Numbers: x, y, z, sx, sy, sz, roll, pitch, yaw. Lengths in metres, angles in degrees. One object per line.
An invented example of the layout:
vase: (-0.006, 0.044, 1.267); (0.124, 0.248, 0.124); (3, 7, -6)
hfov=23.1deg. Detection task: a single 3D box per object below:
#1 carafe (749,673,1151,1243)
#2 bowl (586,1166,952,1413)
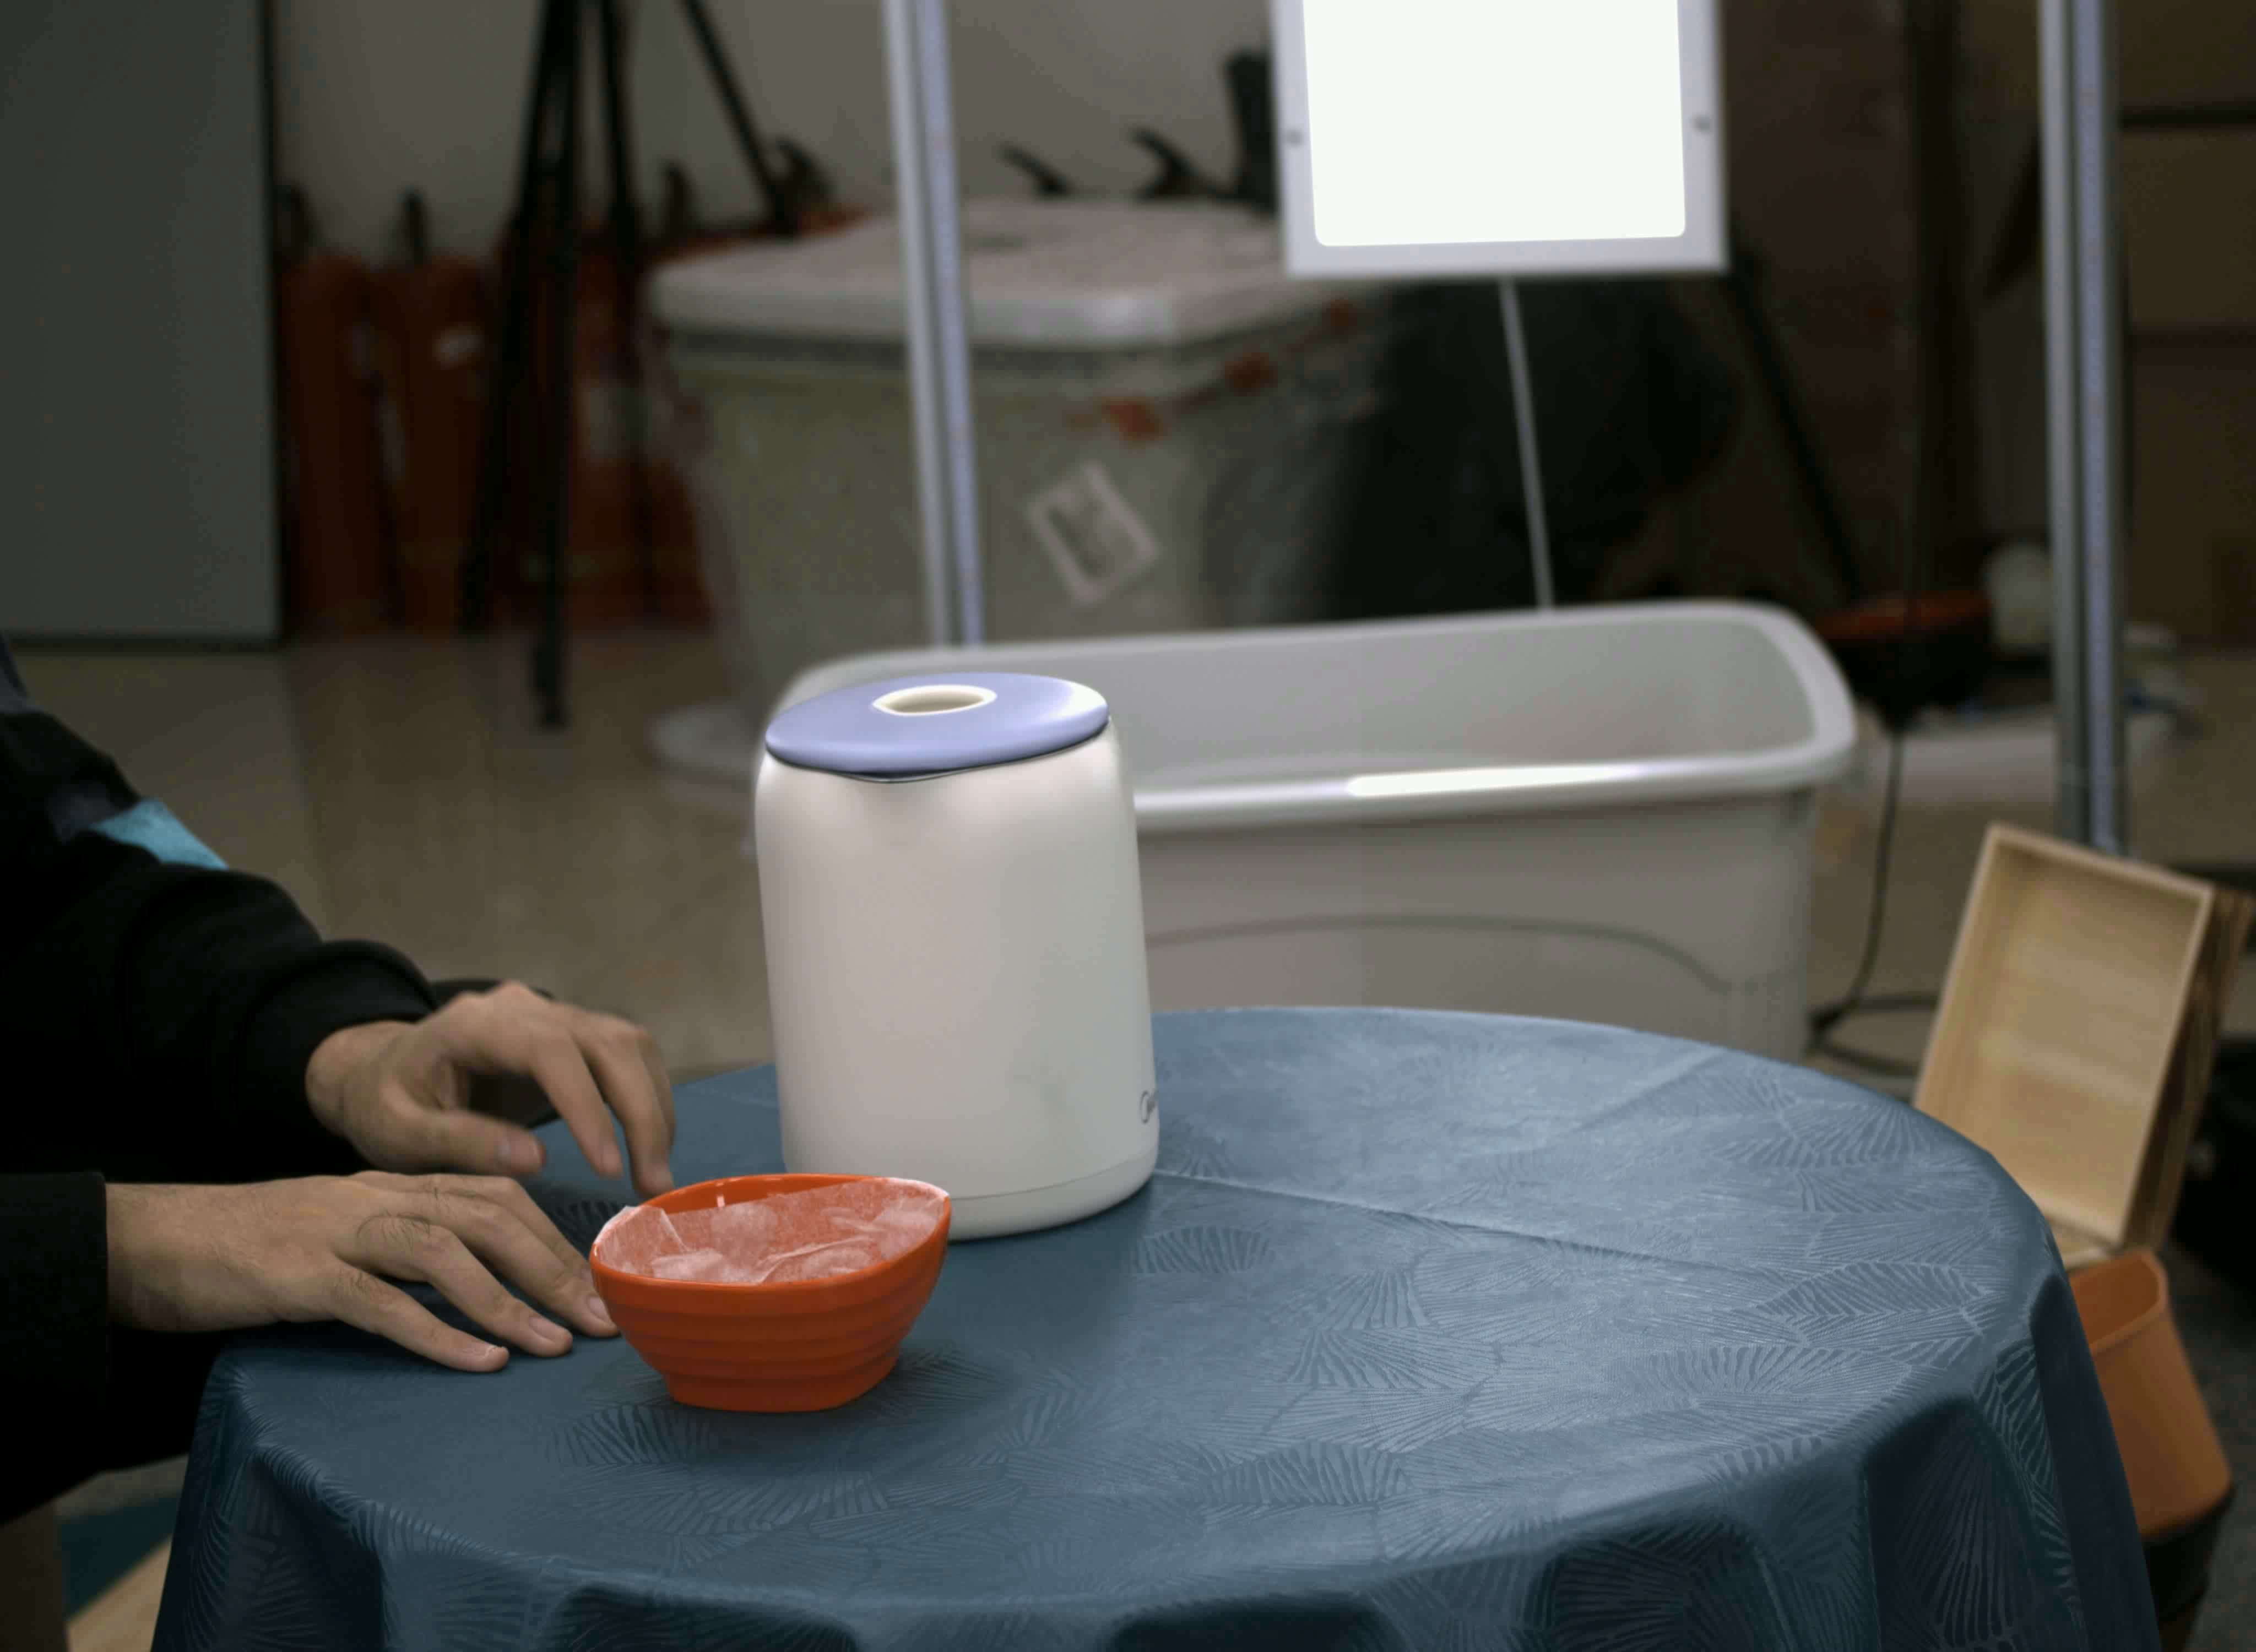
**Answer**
carafe: (-0.057, 0.039, 1.916); (0.133, 0.183, 0.189); (-1, 12, 10)
bowl: (-0.111, 0.148, 1.735); (0.118, 0.051, 0.119); (-4, 16, 0)
